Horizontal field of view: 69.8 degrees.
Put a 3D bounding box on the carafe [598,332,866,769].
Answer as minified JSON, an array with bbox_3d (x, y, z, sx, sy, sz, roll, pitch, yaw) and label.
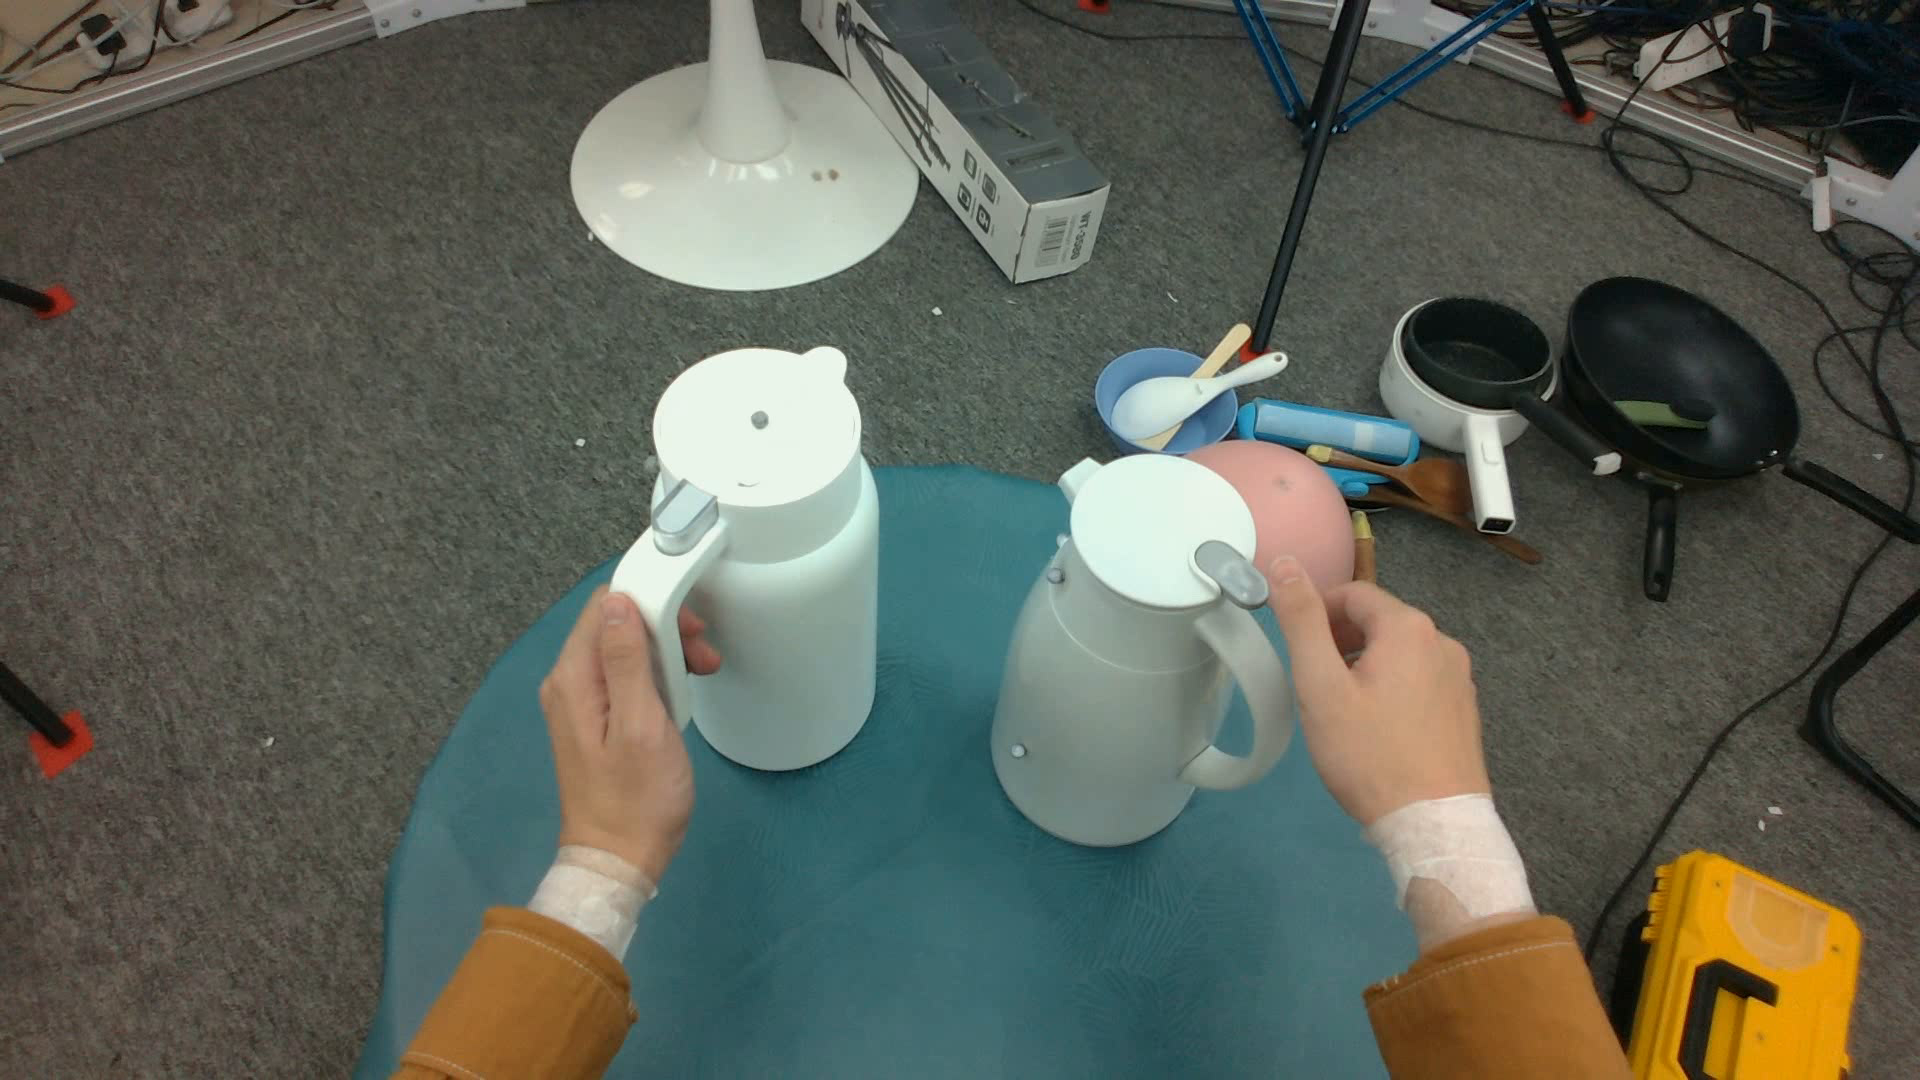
[{"bbox_3d":[-0.119,0.031,0.751,0.124,0.267,0.173,27,57,11],"label":"carafe"}]

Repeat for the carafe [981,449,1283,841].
[{"bbox_3d":[0.099,0.069,0.755,0.133,0.247,0.168,-35,65,-25],"label":"carafe"}]
